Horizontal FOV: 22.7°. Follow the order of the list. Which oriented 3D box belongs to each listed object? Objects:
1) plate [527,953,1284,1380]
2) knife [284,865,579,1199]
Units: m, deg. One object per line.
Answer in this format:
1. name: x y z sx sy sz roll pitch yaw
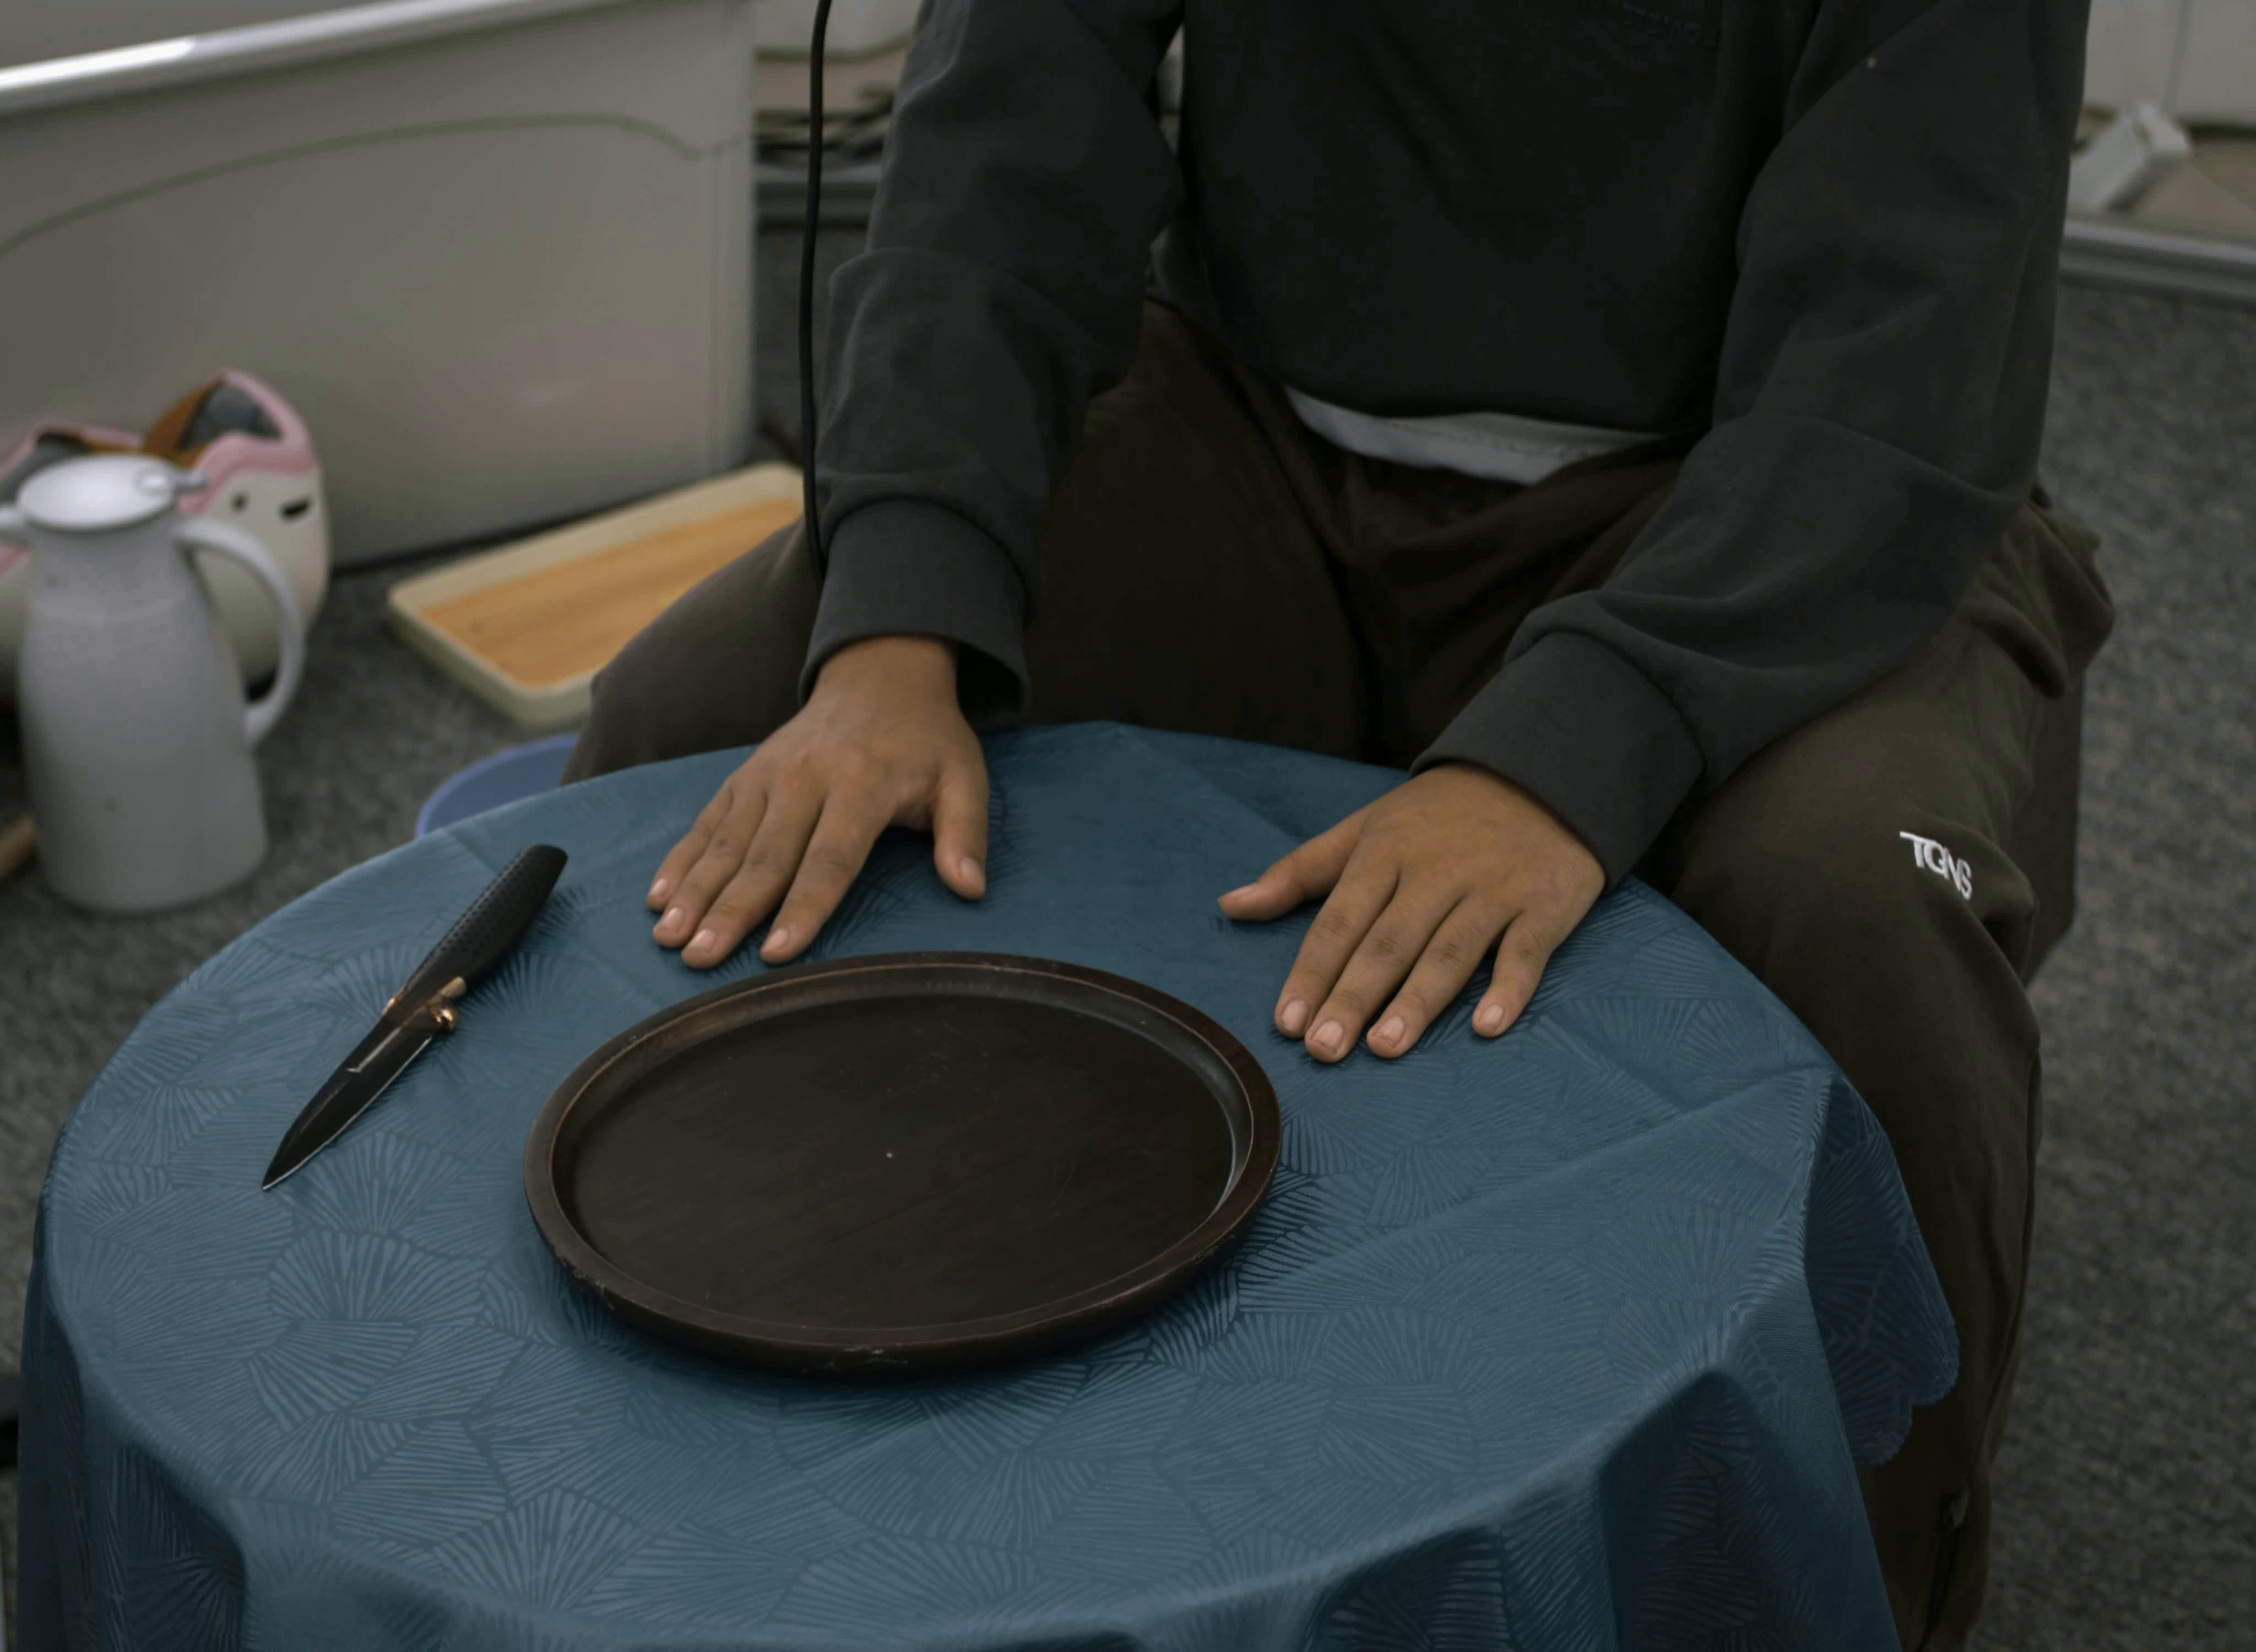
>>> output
1. plate: -0.073 0.112 1.866 0.253 0.029 0.258 -3 26 2
2. knife: -0.247 0.071 1.973 0.026 0.017 0.229 12 31 17
